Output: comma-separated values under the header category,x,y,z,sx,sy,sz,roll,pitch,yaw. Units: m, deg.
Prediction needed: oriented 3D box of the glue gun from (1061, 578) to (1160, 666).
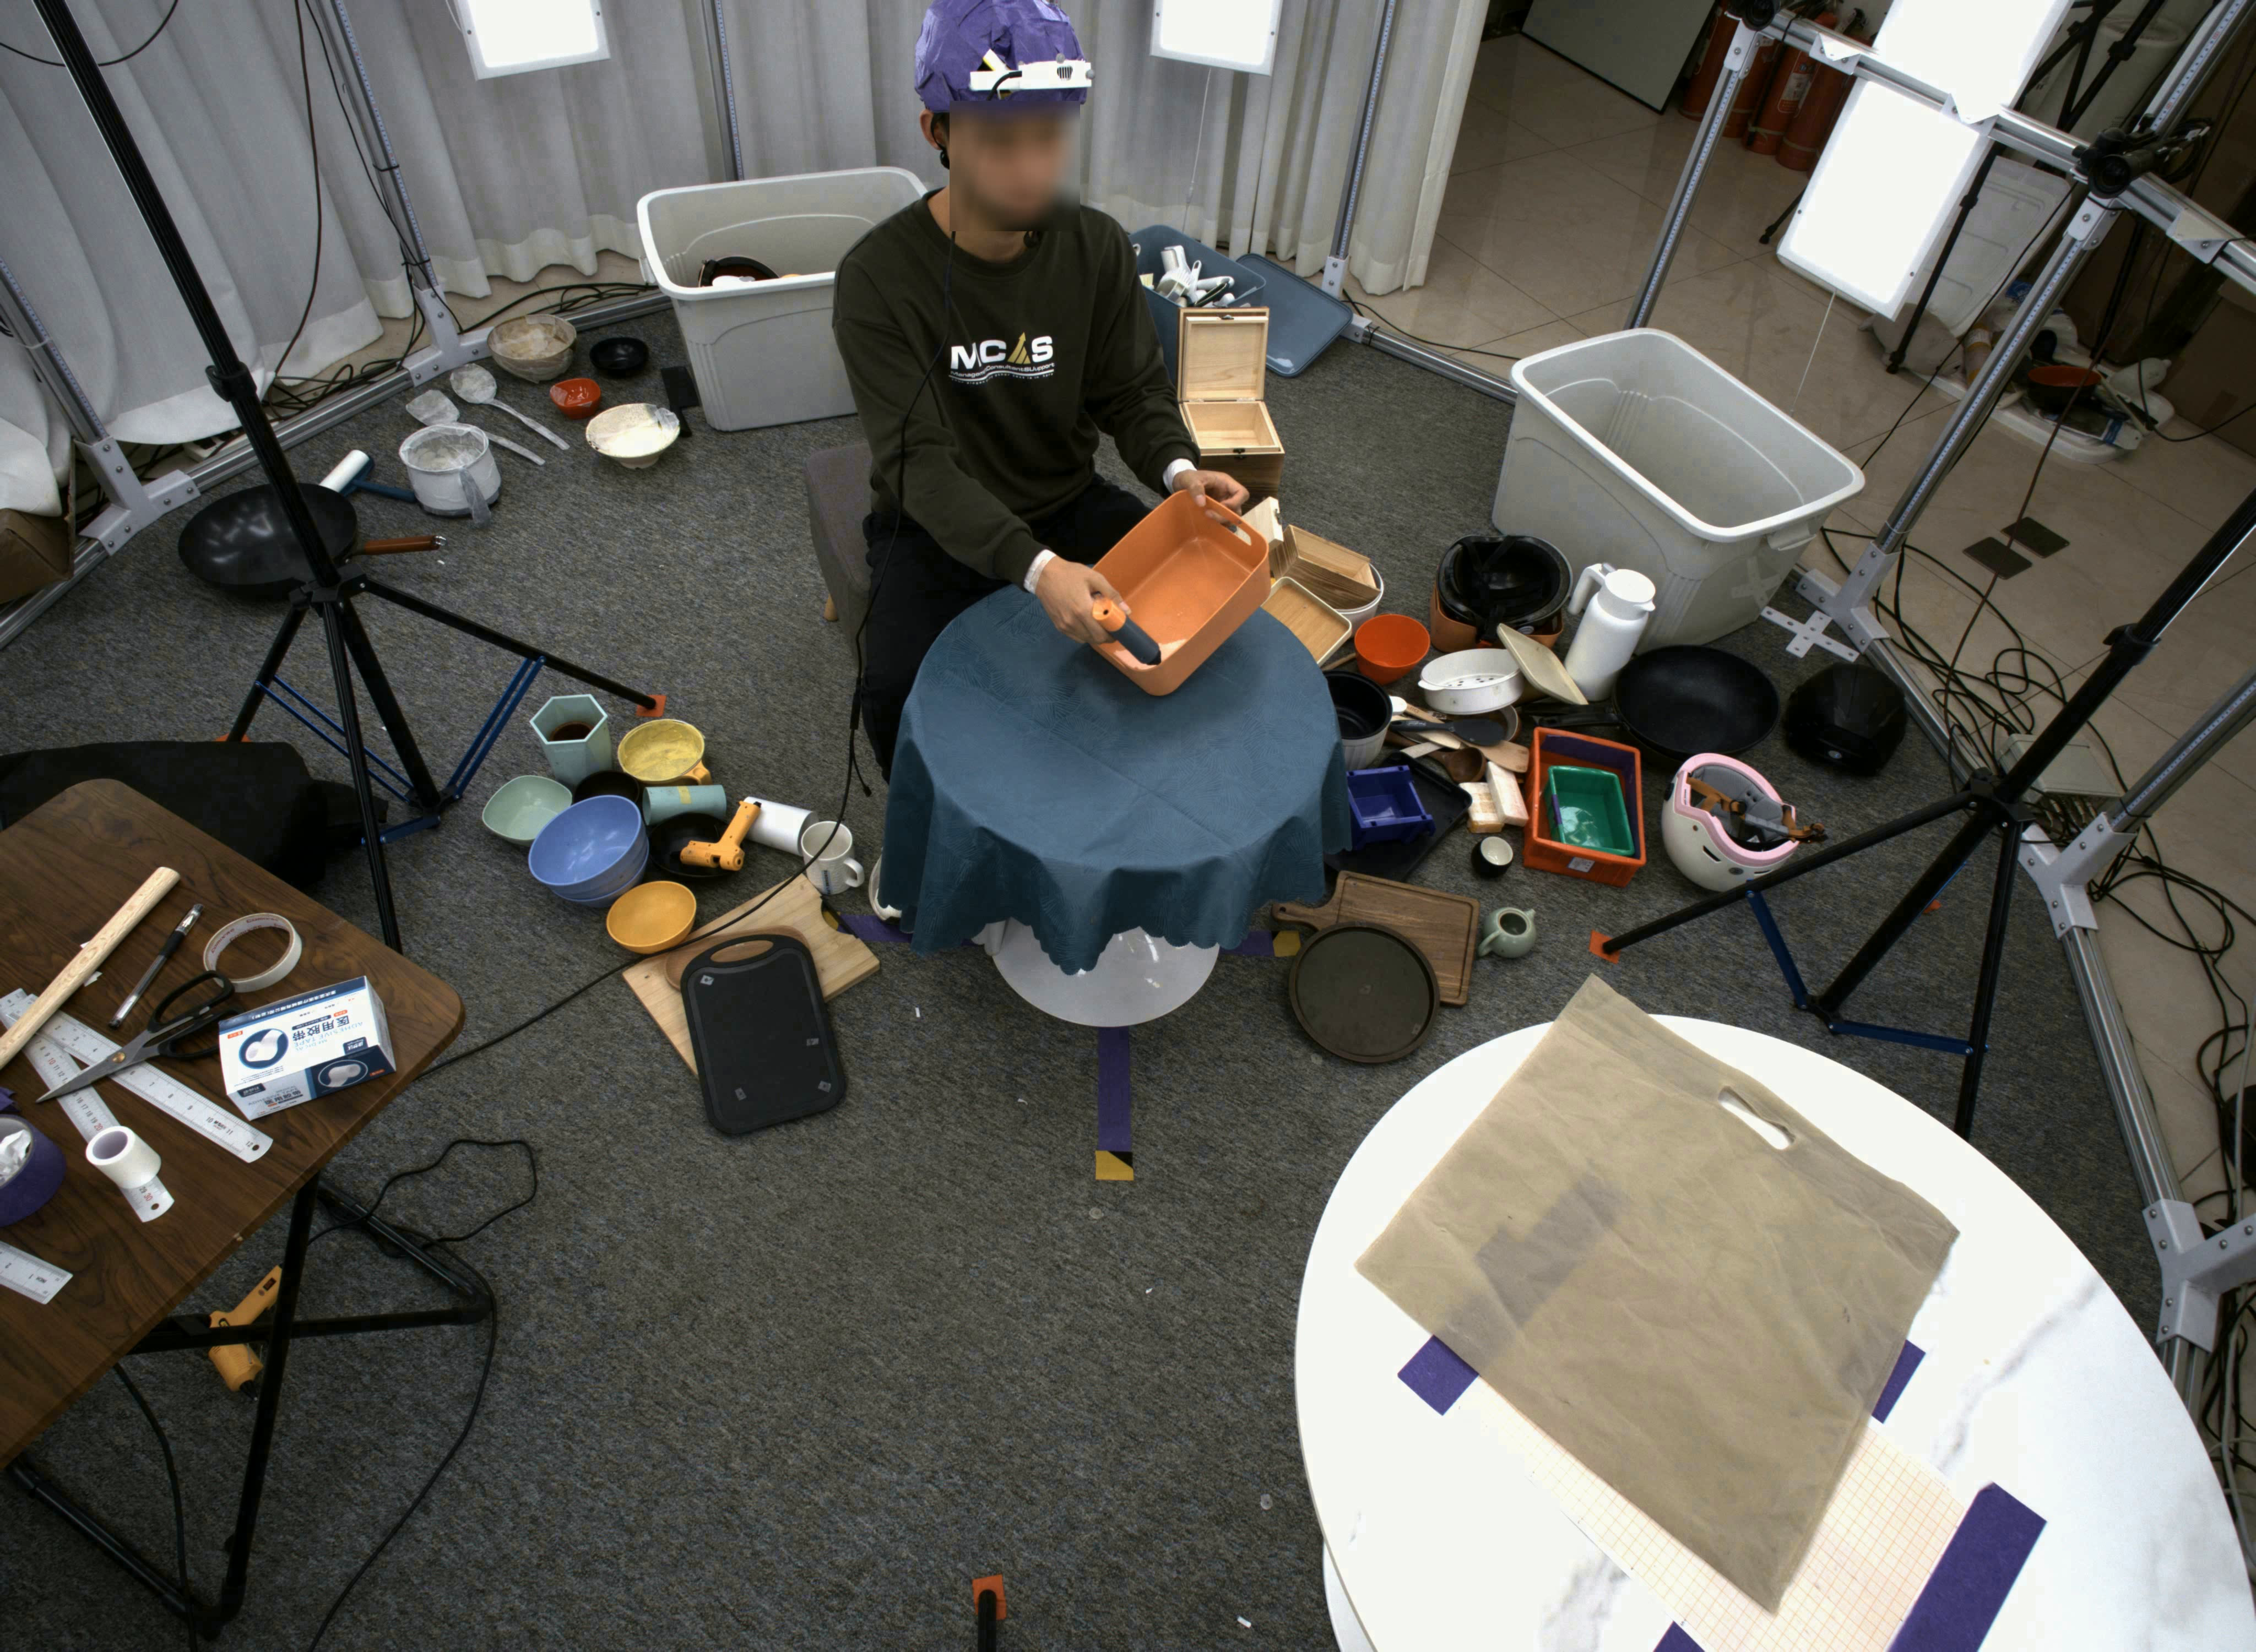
category,x,y,z,sx,sy,sz,roll,pitch,yaw
glue gun,-0.022,-0.274,1.733,0.041,0.115,0.142,-48,50,-2

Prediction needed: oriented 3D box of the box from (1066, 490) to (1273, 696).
category,x,y,z,sx,sy,sz,roll,pitch,yaw
box,0.065,-0.328,1.835,0.274,0.100,0.203,-46,60,-8
